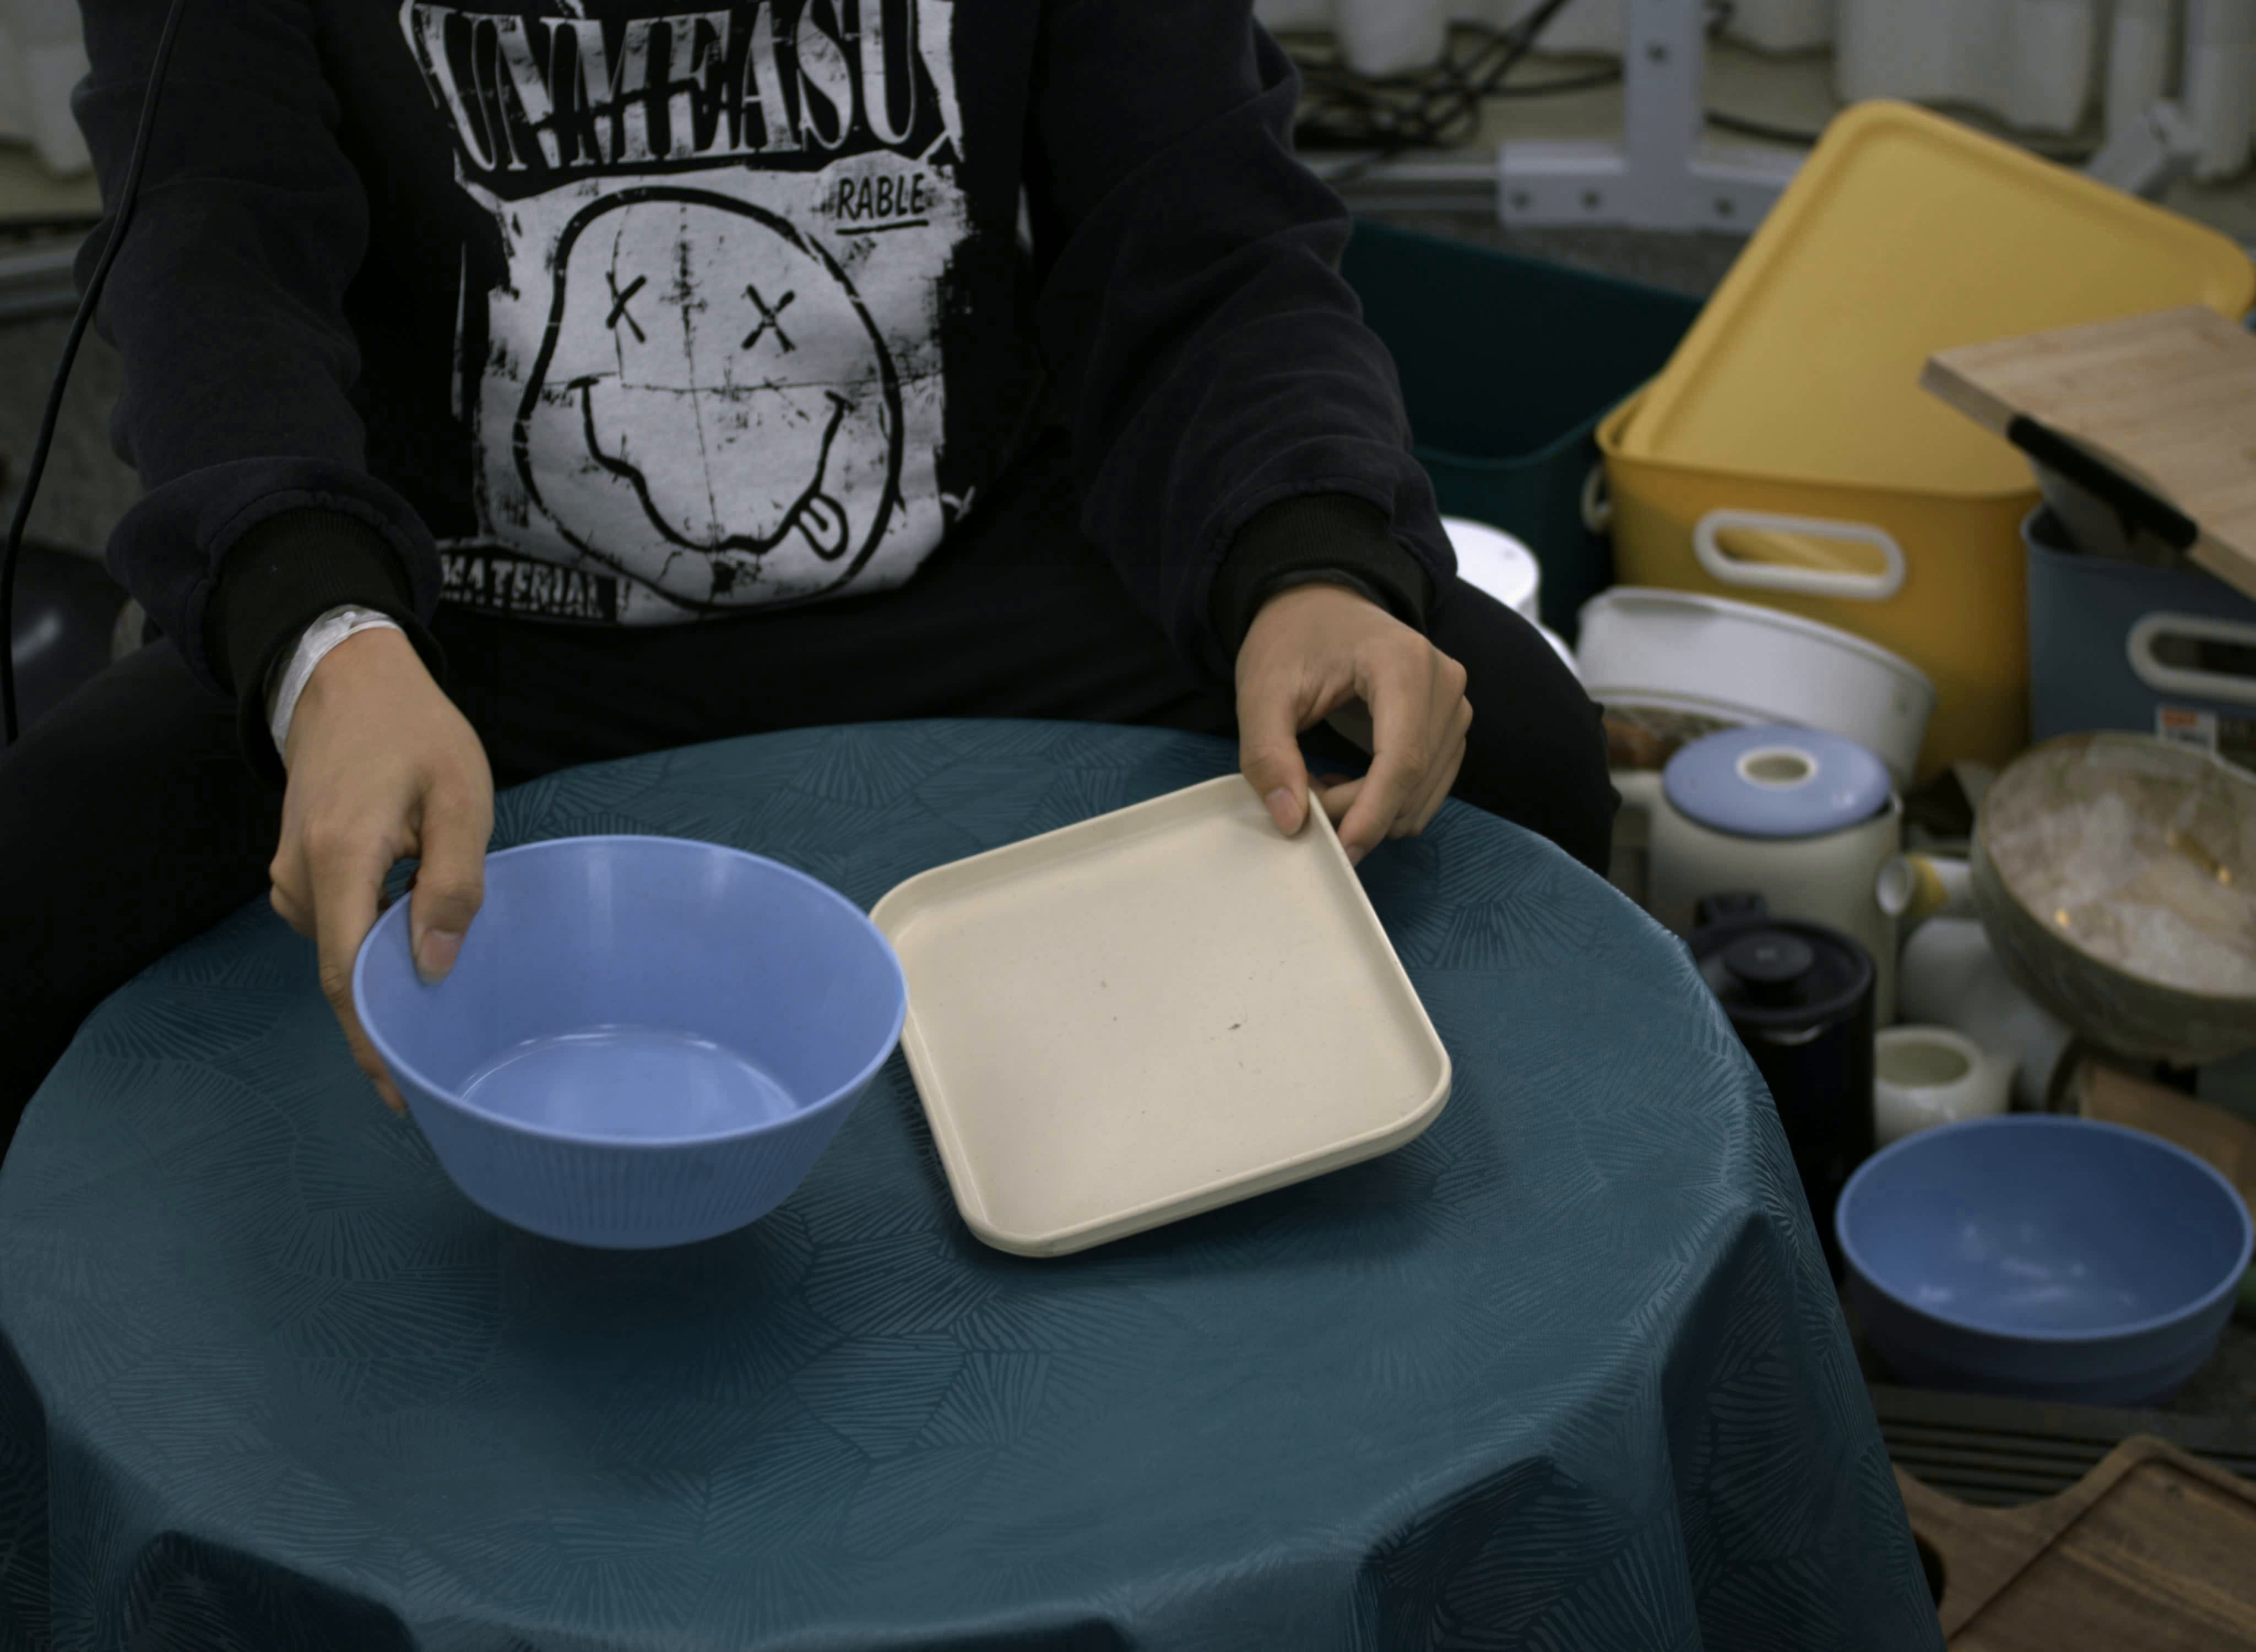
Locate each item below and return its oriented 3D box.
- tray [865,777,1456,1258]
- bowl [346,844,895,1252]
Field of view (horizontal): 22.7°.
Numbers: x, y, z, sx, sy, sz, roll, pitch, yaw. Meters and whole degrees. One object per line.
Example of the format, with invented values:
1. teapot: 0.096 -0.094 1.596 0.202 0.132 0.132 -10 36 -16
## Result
1. tray: 0.009 0.064 1.919 0.171 0.017 0.242 -17 31 -5
2. bowl: -0.165 0.079 1.807 0.175 0.069 0.179 5 31 -3
